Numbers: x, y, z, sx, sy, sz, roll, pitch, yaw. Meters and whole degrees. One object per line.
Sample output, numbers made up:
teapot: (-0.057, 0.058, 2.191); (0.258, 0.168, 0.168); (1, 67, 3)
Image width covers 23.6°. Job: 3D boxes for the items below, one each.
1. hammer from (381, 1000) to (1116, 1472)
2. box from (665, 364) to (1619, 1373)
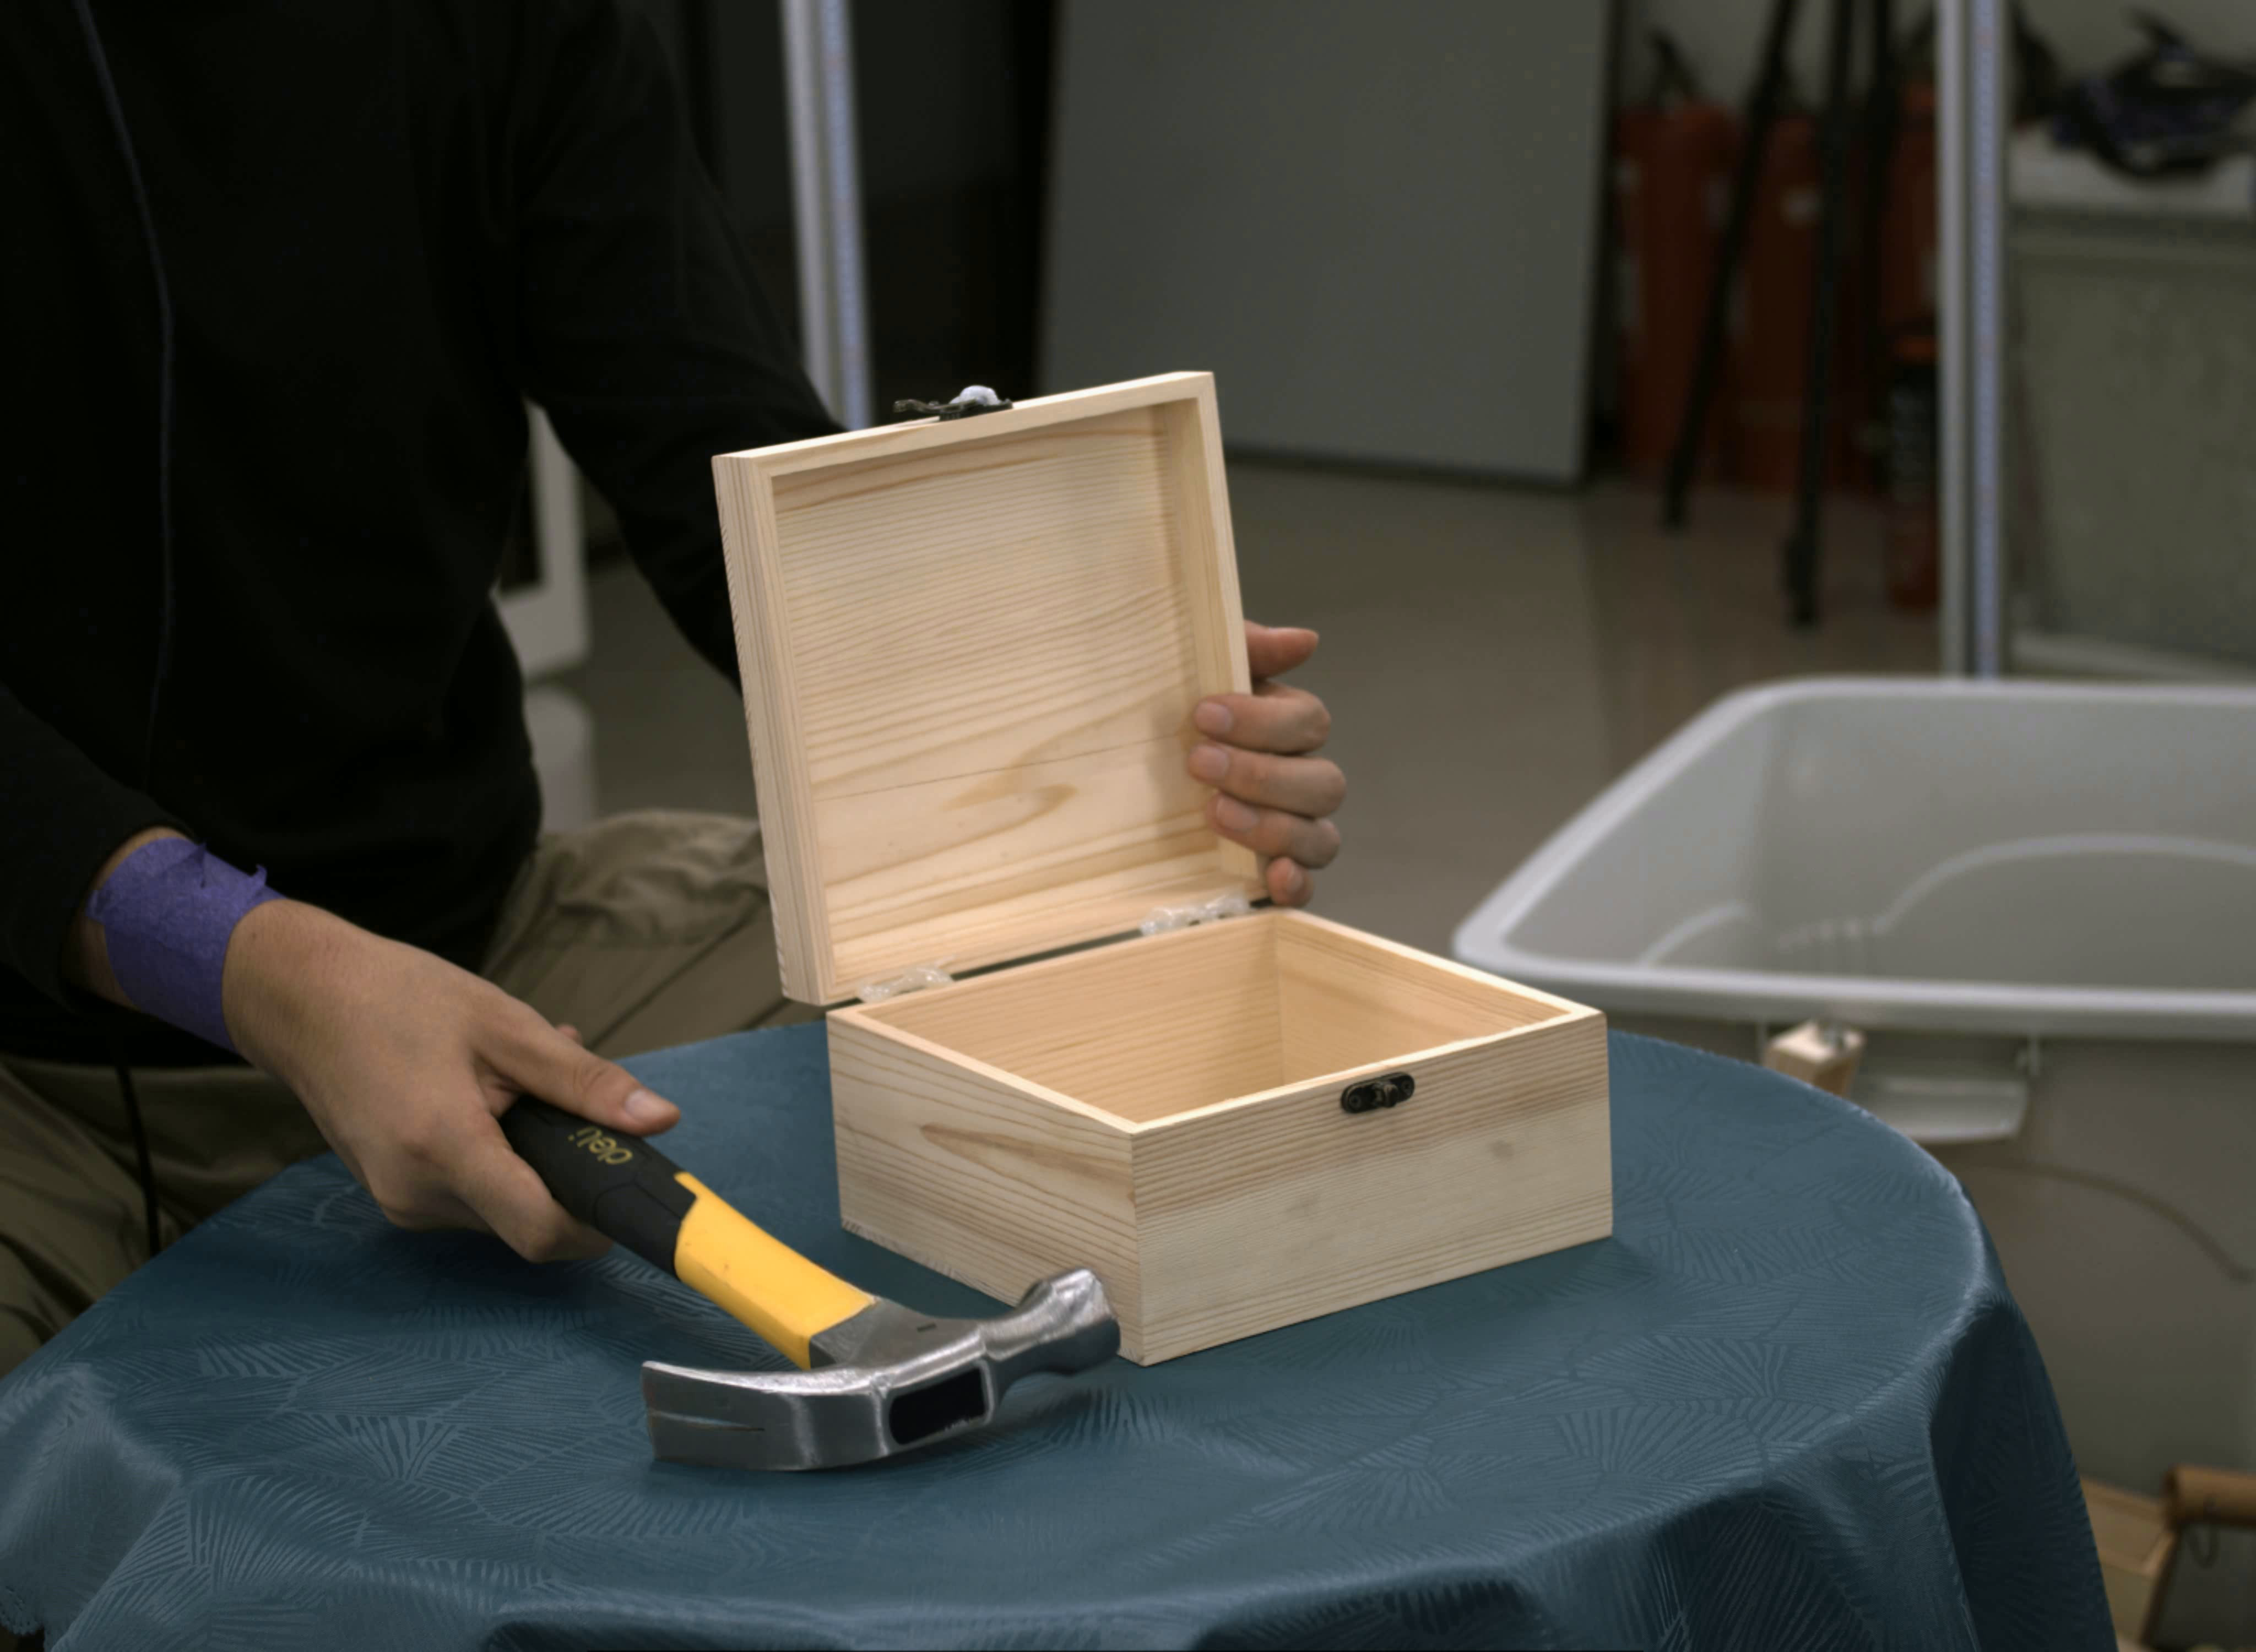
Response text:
hammer: (-0.145, 0.117, 1.674); (0.129, 0.032, 0.342); (-21, 26, -26)
box: (0.004, 0.004, 1.725); (0.178, 0.256, 0.268); (-14, 17, -30)
